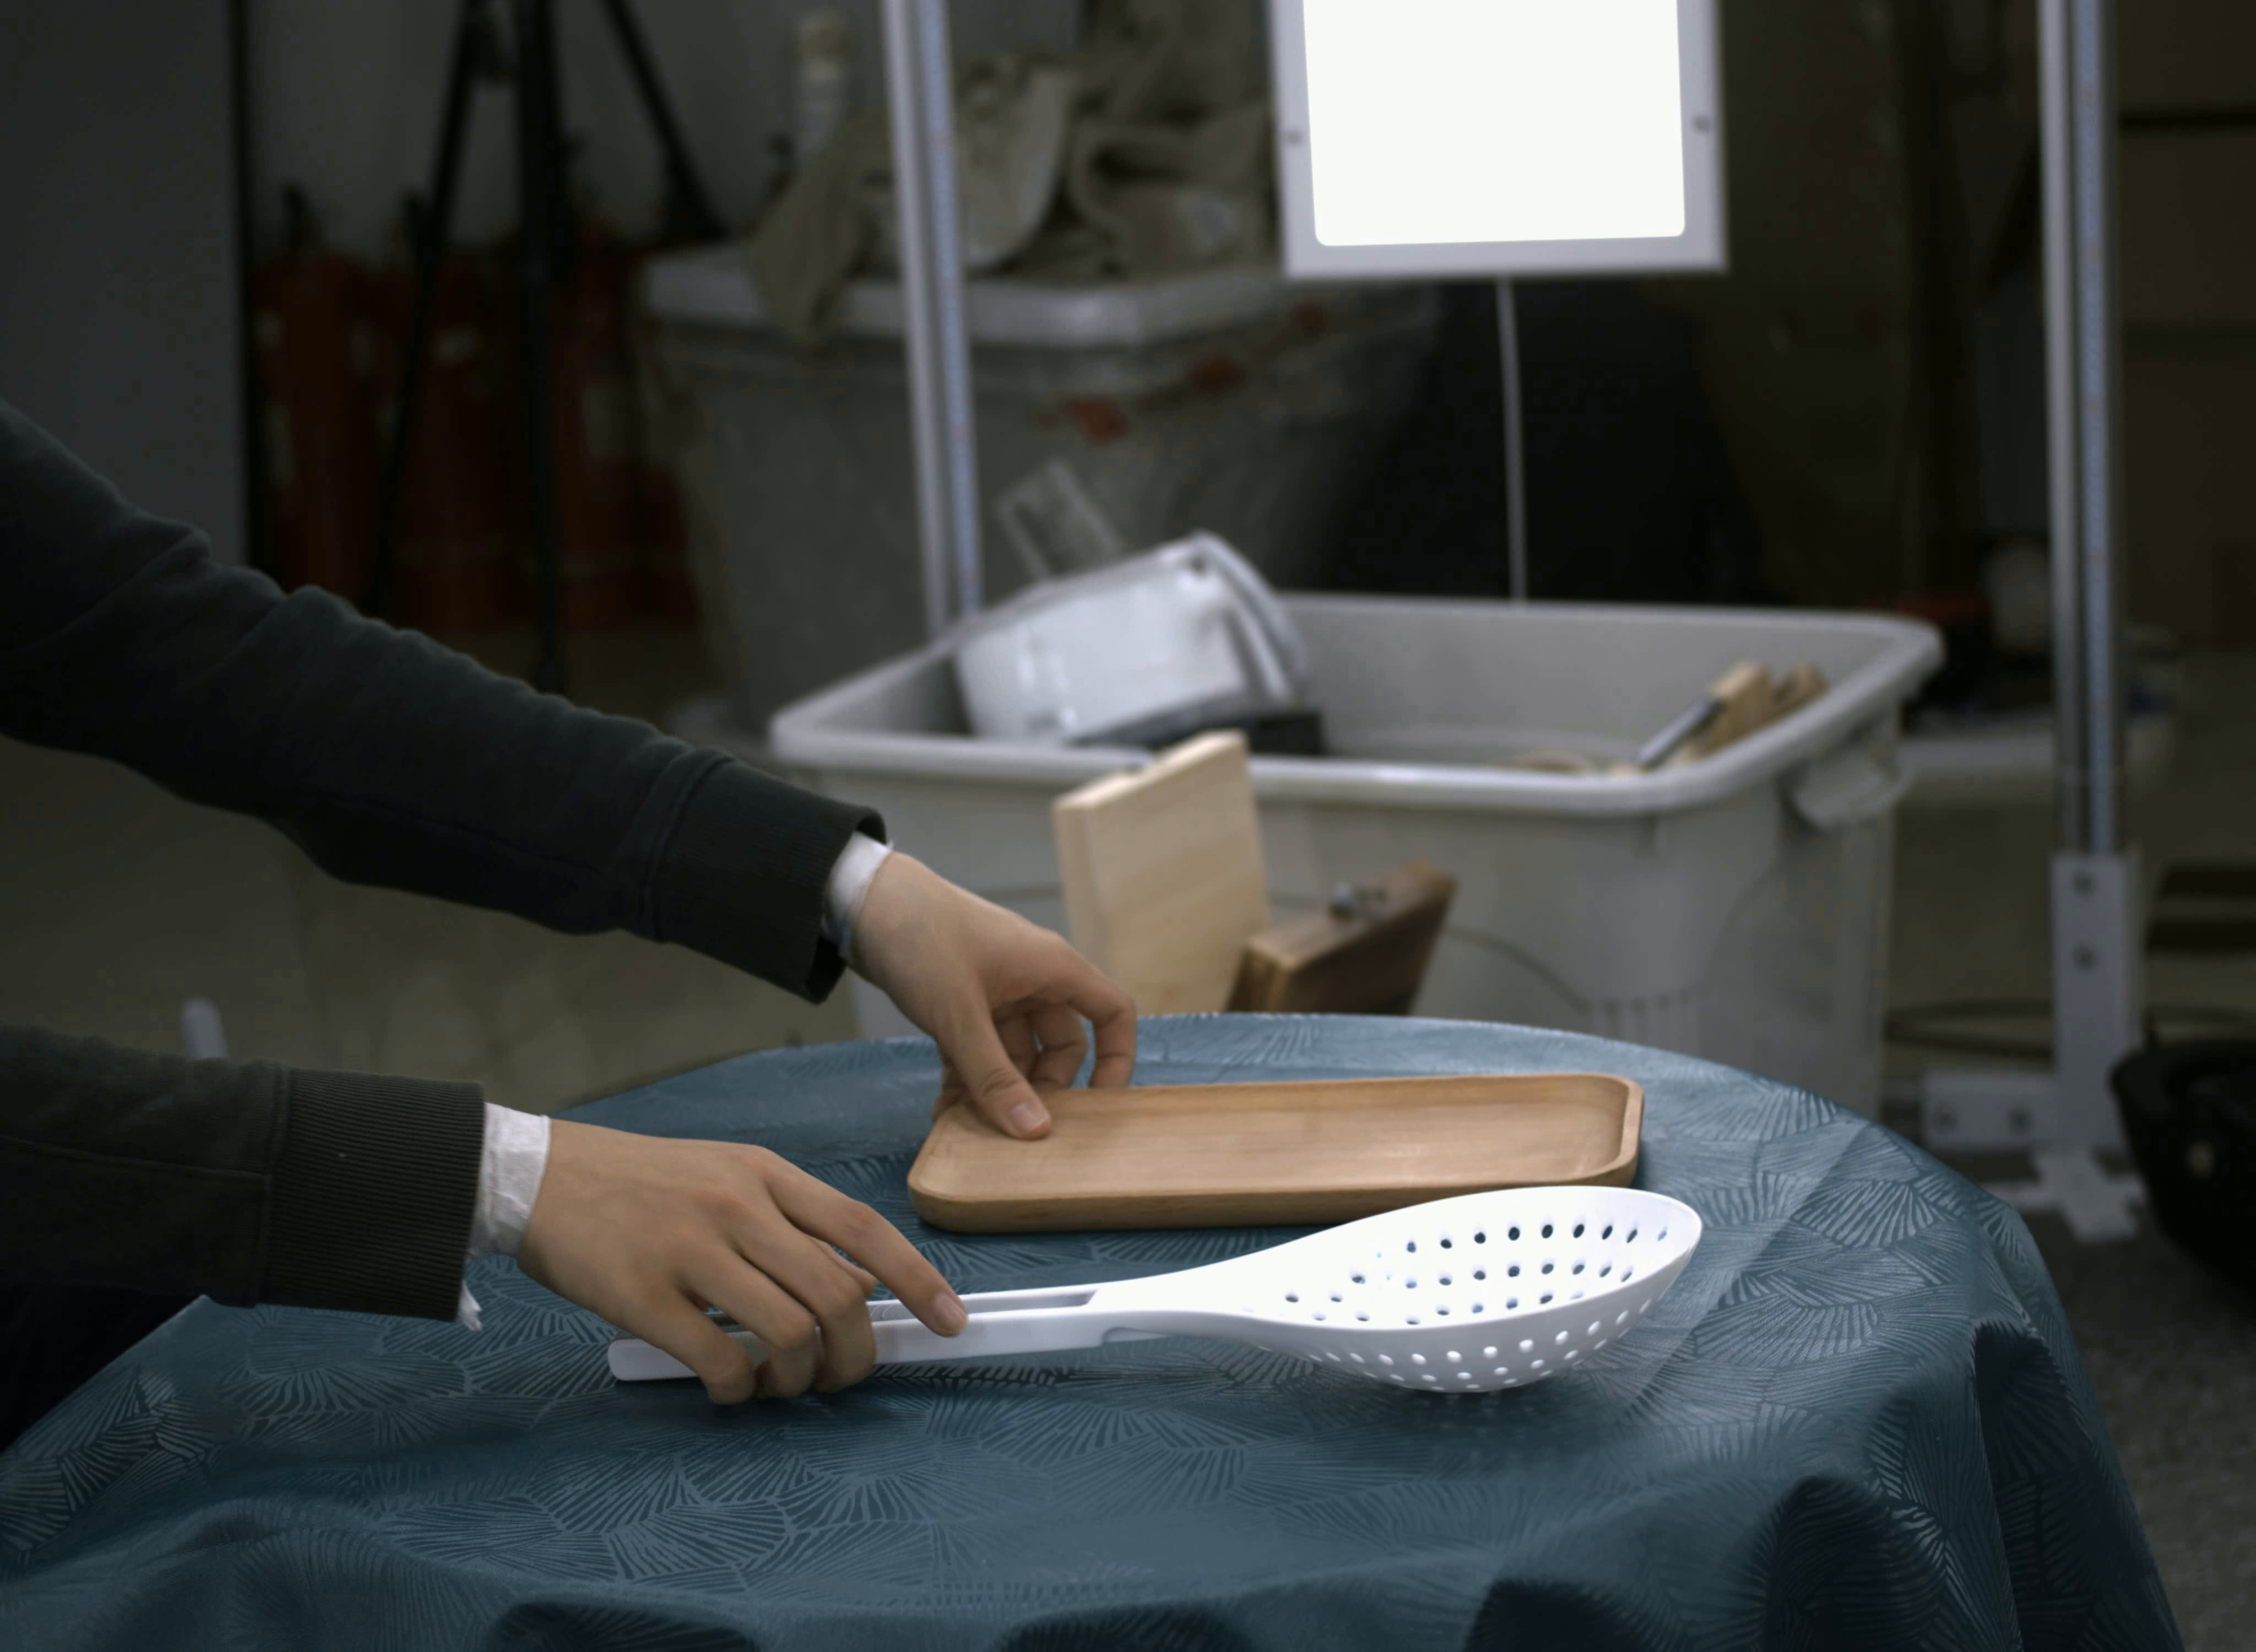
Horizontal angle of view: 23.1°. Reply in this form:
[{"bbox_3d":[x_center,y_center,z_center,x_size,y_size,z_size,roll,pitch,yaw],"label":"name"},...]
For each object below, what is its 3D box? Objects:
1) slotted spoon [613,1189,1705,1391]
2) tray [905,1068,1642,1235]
[{"bbox_3d":[0.006,0.149,1.707,0.353,0.046,0.134,-2,12,16],"label":"slotted spoon"},{"bbox_3d":[0.052,0.112,1.901,0.252,0.023,0.129,-3,12,11],"label":"tray"}]
